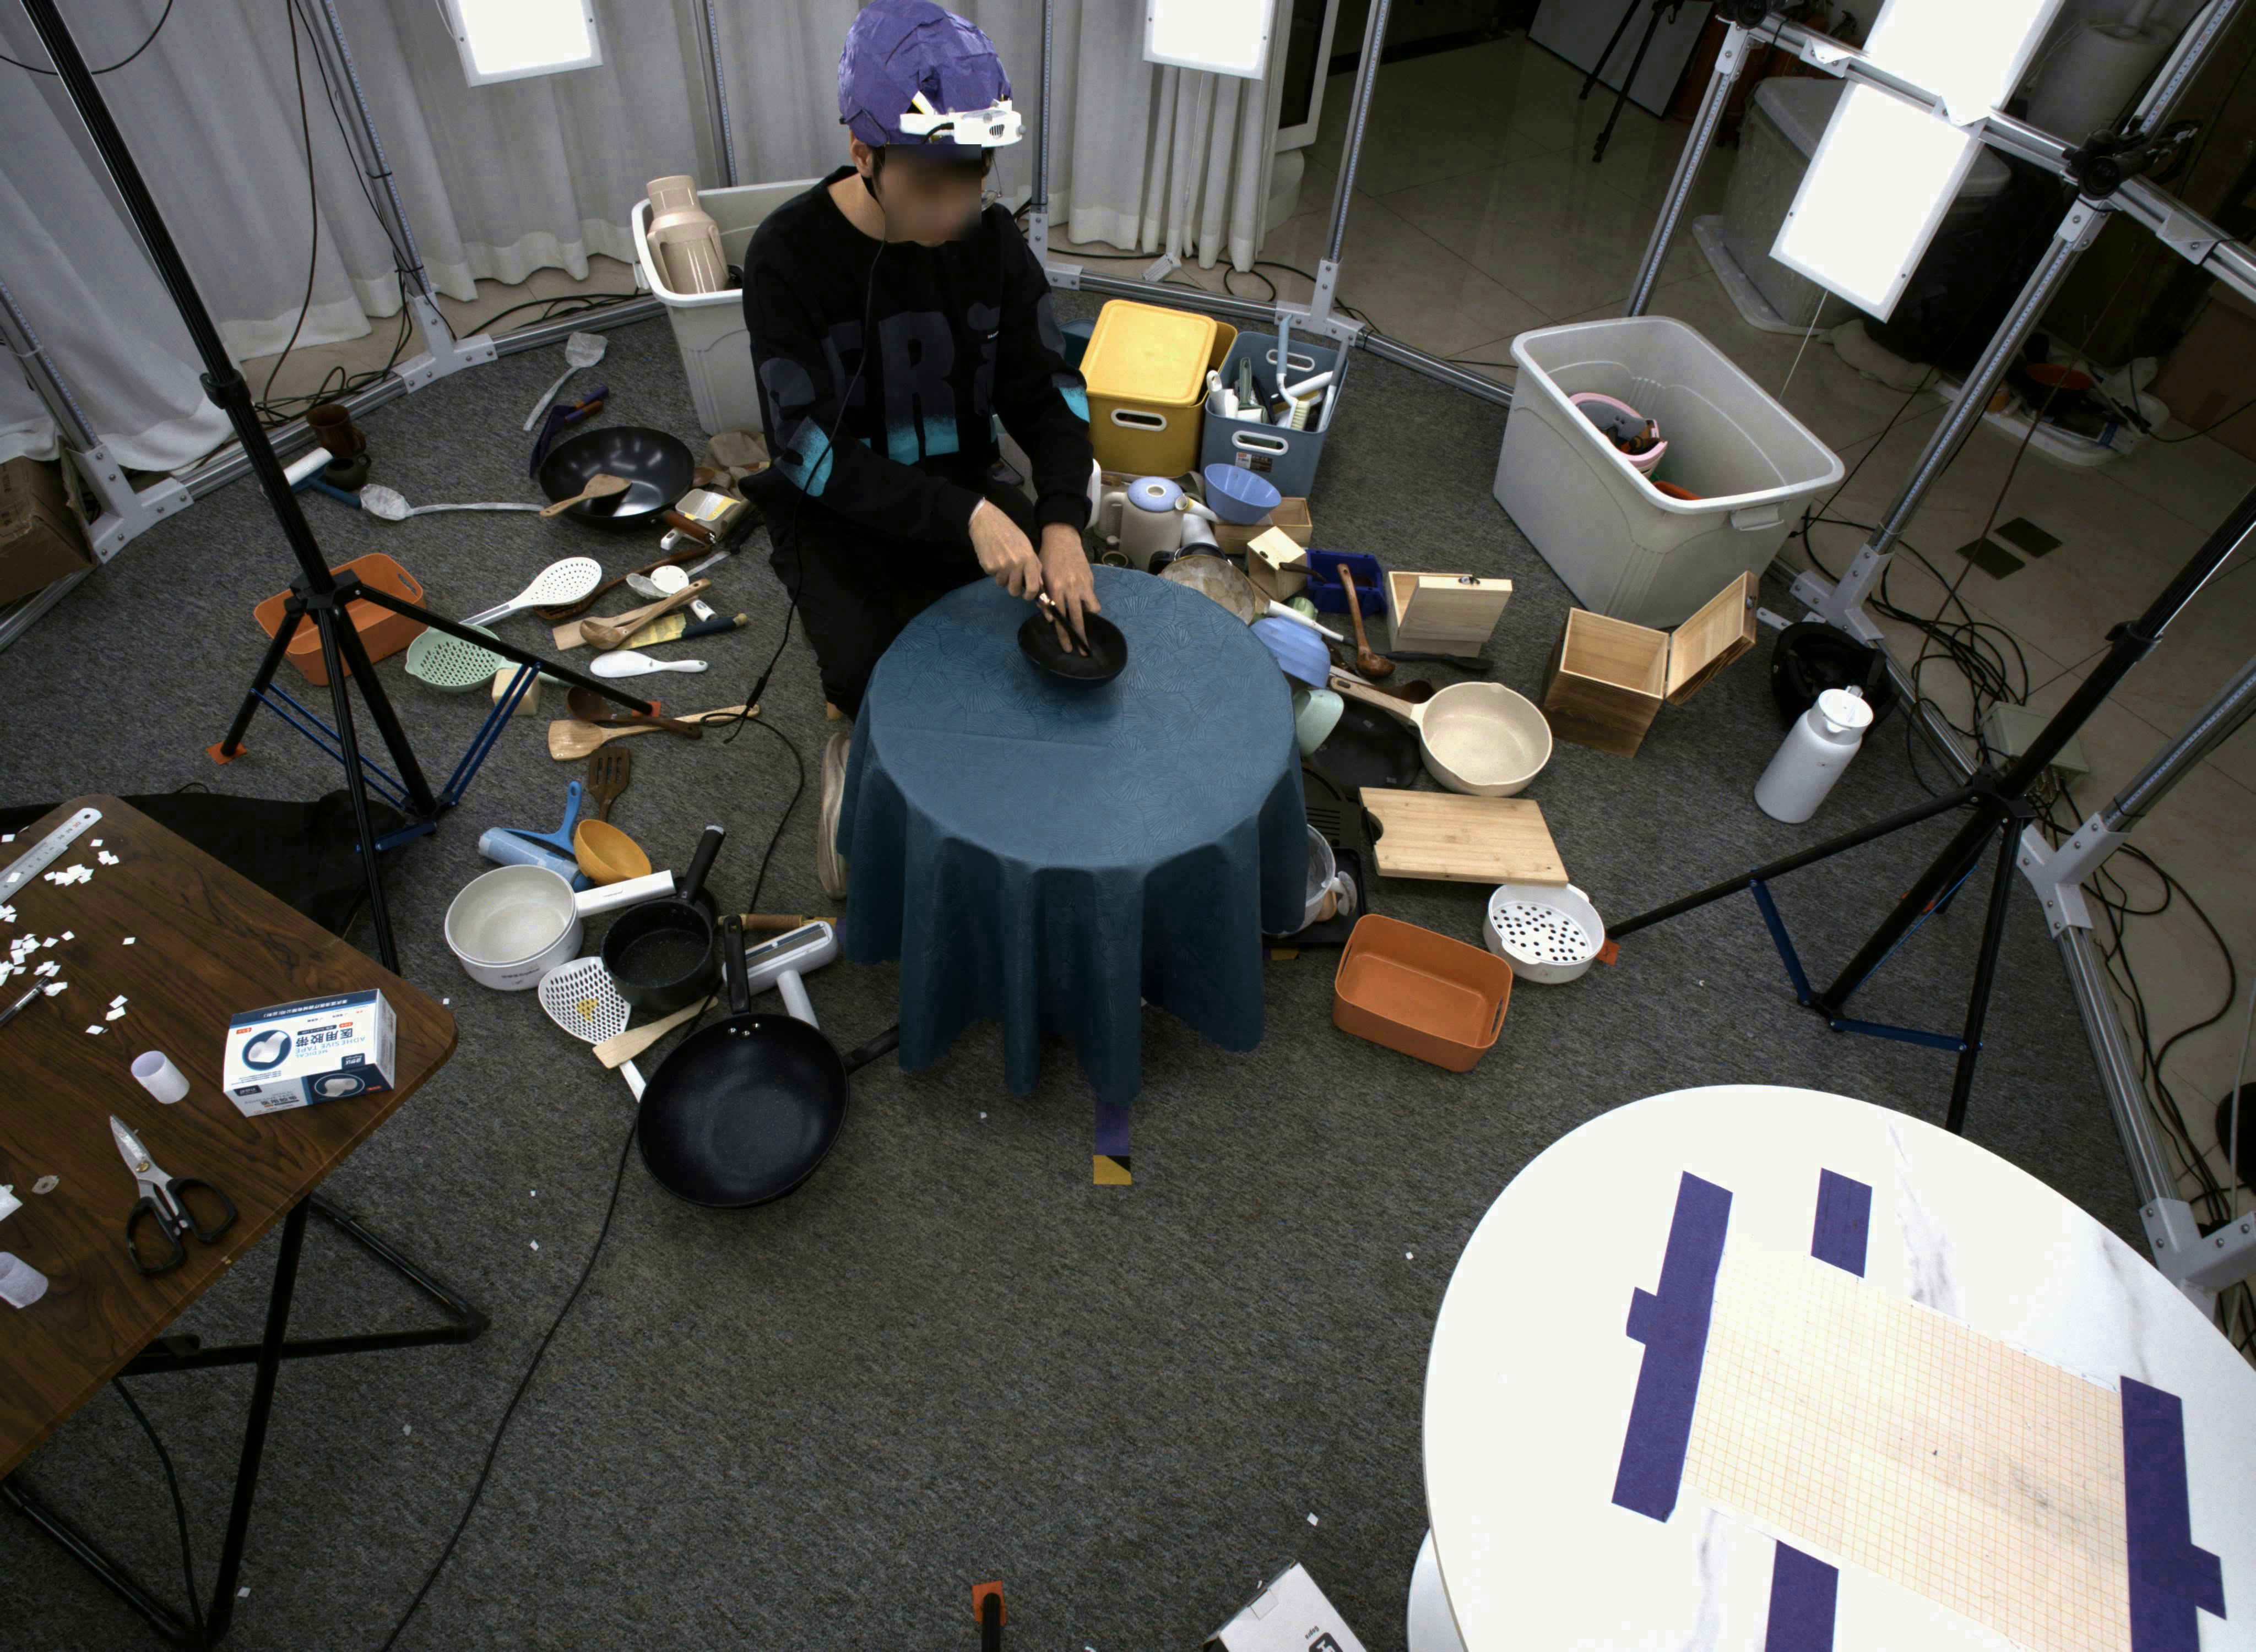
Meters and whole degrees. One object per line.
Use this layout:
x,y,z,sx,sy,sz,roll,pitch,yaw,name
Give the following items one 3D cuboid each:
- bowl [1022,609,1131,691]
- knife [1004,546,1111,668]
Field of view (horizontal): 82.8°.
-0.075,-0.240,1.831,0.172,0.065,0.139,31,54,24,bowl
-0.100,-0.309,1.827,0.017,0.026,0.226,-40,89,-21,knife
